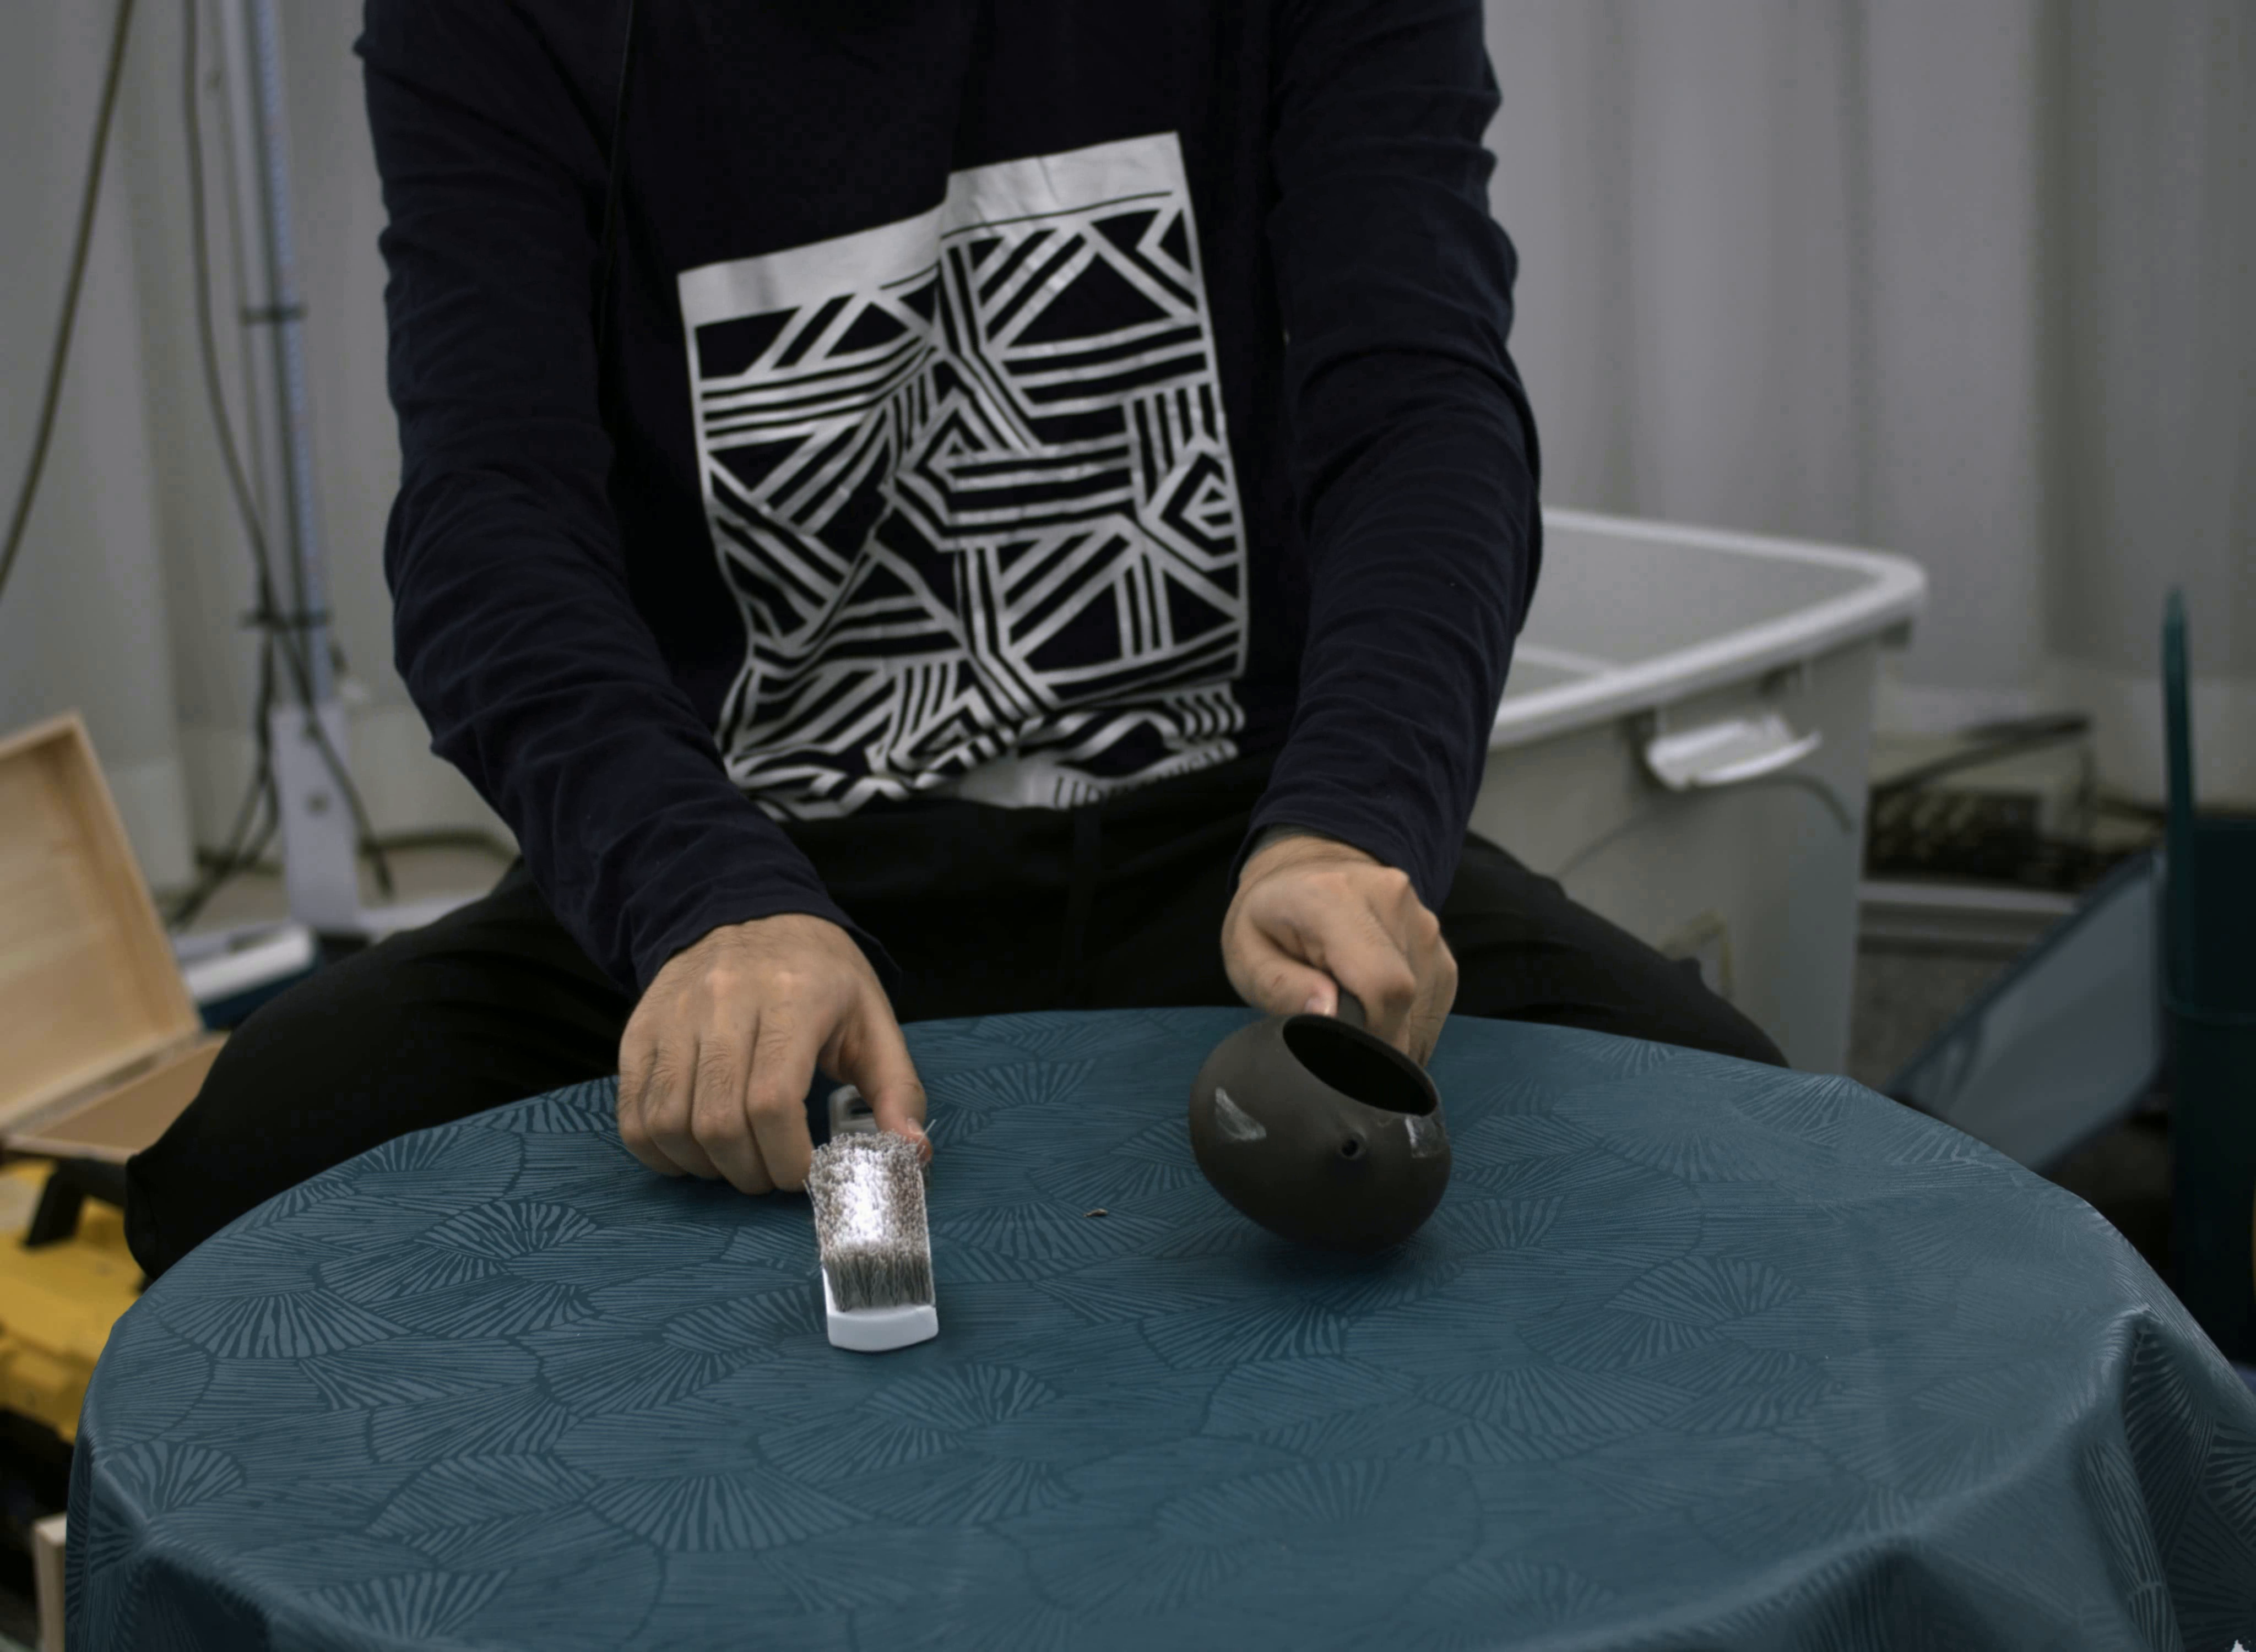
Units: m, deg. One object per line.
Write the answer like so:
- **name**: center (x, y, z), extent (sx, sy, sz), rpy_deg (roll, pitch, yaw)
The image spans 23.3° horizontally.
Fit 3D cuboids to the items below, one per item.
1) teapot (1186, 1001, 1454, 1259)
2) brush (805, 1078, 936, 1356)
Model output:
- **teapot**: center (0.059, 0.088, 1.656), extent (0.082, 0.052, 0.115), rpy_deg (22, 22, -7)
- **brush**: center (-0.076, 0.101, 1.689), extent (0.034, 0.050, 0.245), rpy_deg (-8, 15, 1)
